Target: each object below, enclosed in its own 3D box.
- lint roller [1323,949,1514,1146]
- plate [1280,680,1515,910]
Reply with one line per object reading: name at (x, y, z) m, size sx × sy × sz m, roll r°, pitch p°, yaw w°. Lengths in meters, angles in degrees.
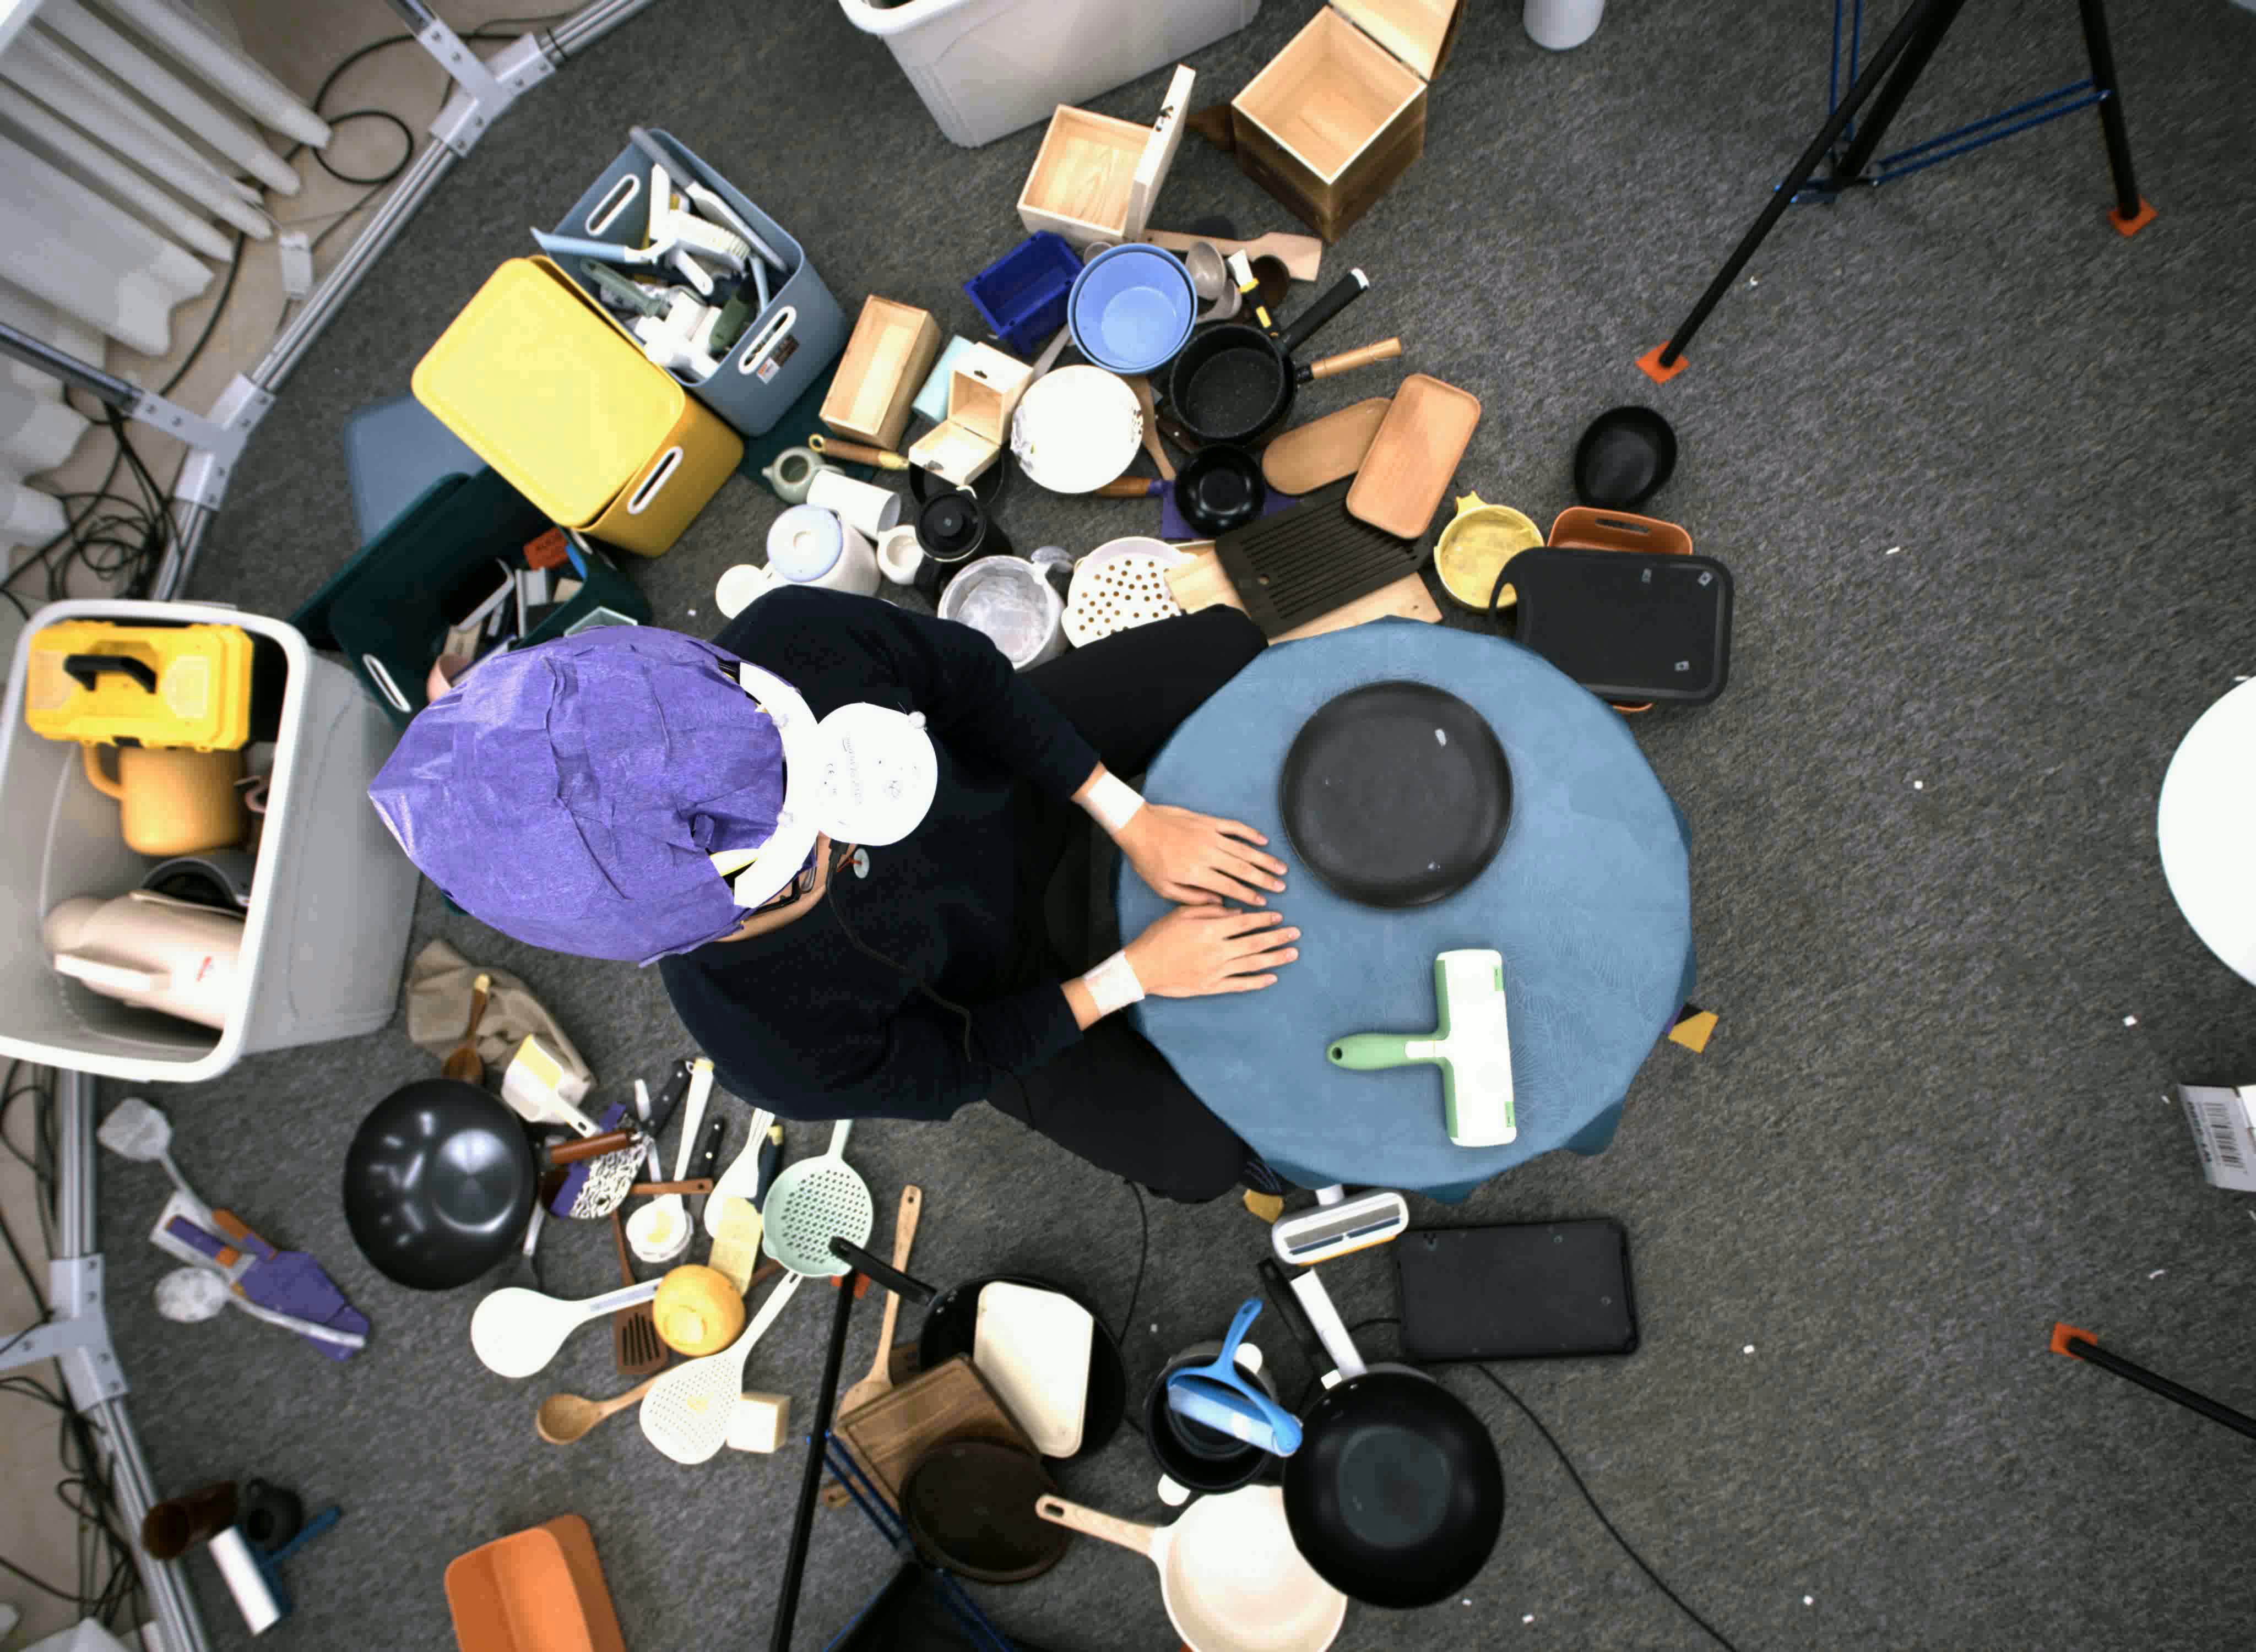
lint roller at (0.292, 0.226, 1.404) m, size 0.184 × 0.082 × 0.197 m, roll -4°, pitch 85°, yaw 4°
plate at (0.282, -0.034, 1.451) m, size 0.245 × 0.023 × 0.243 m, roll -1°, pitch 87°, yaw 10°
